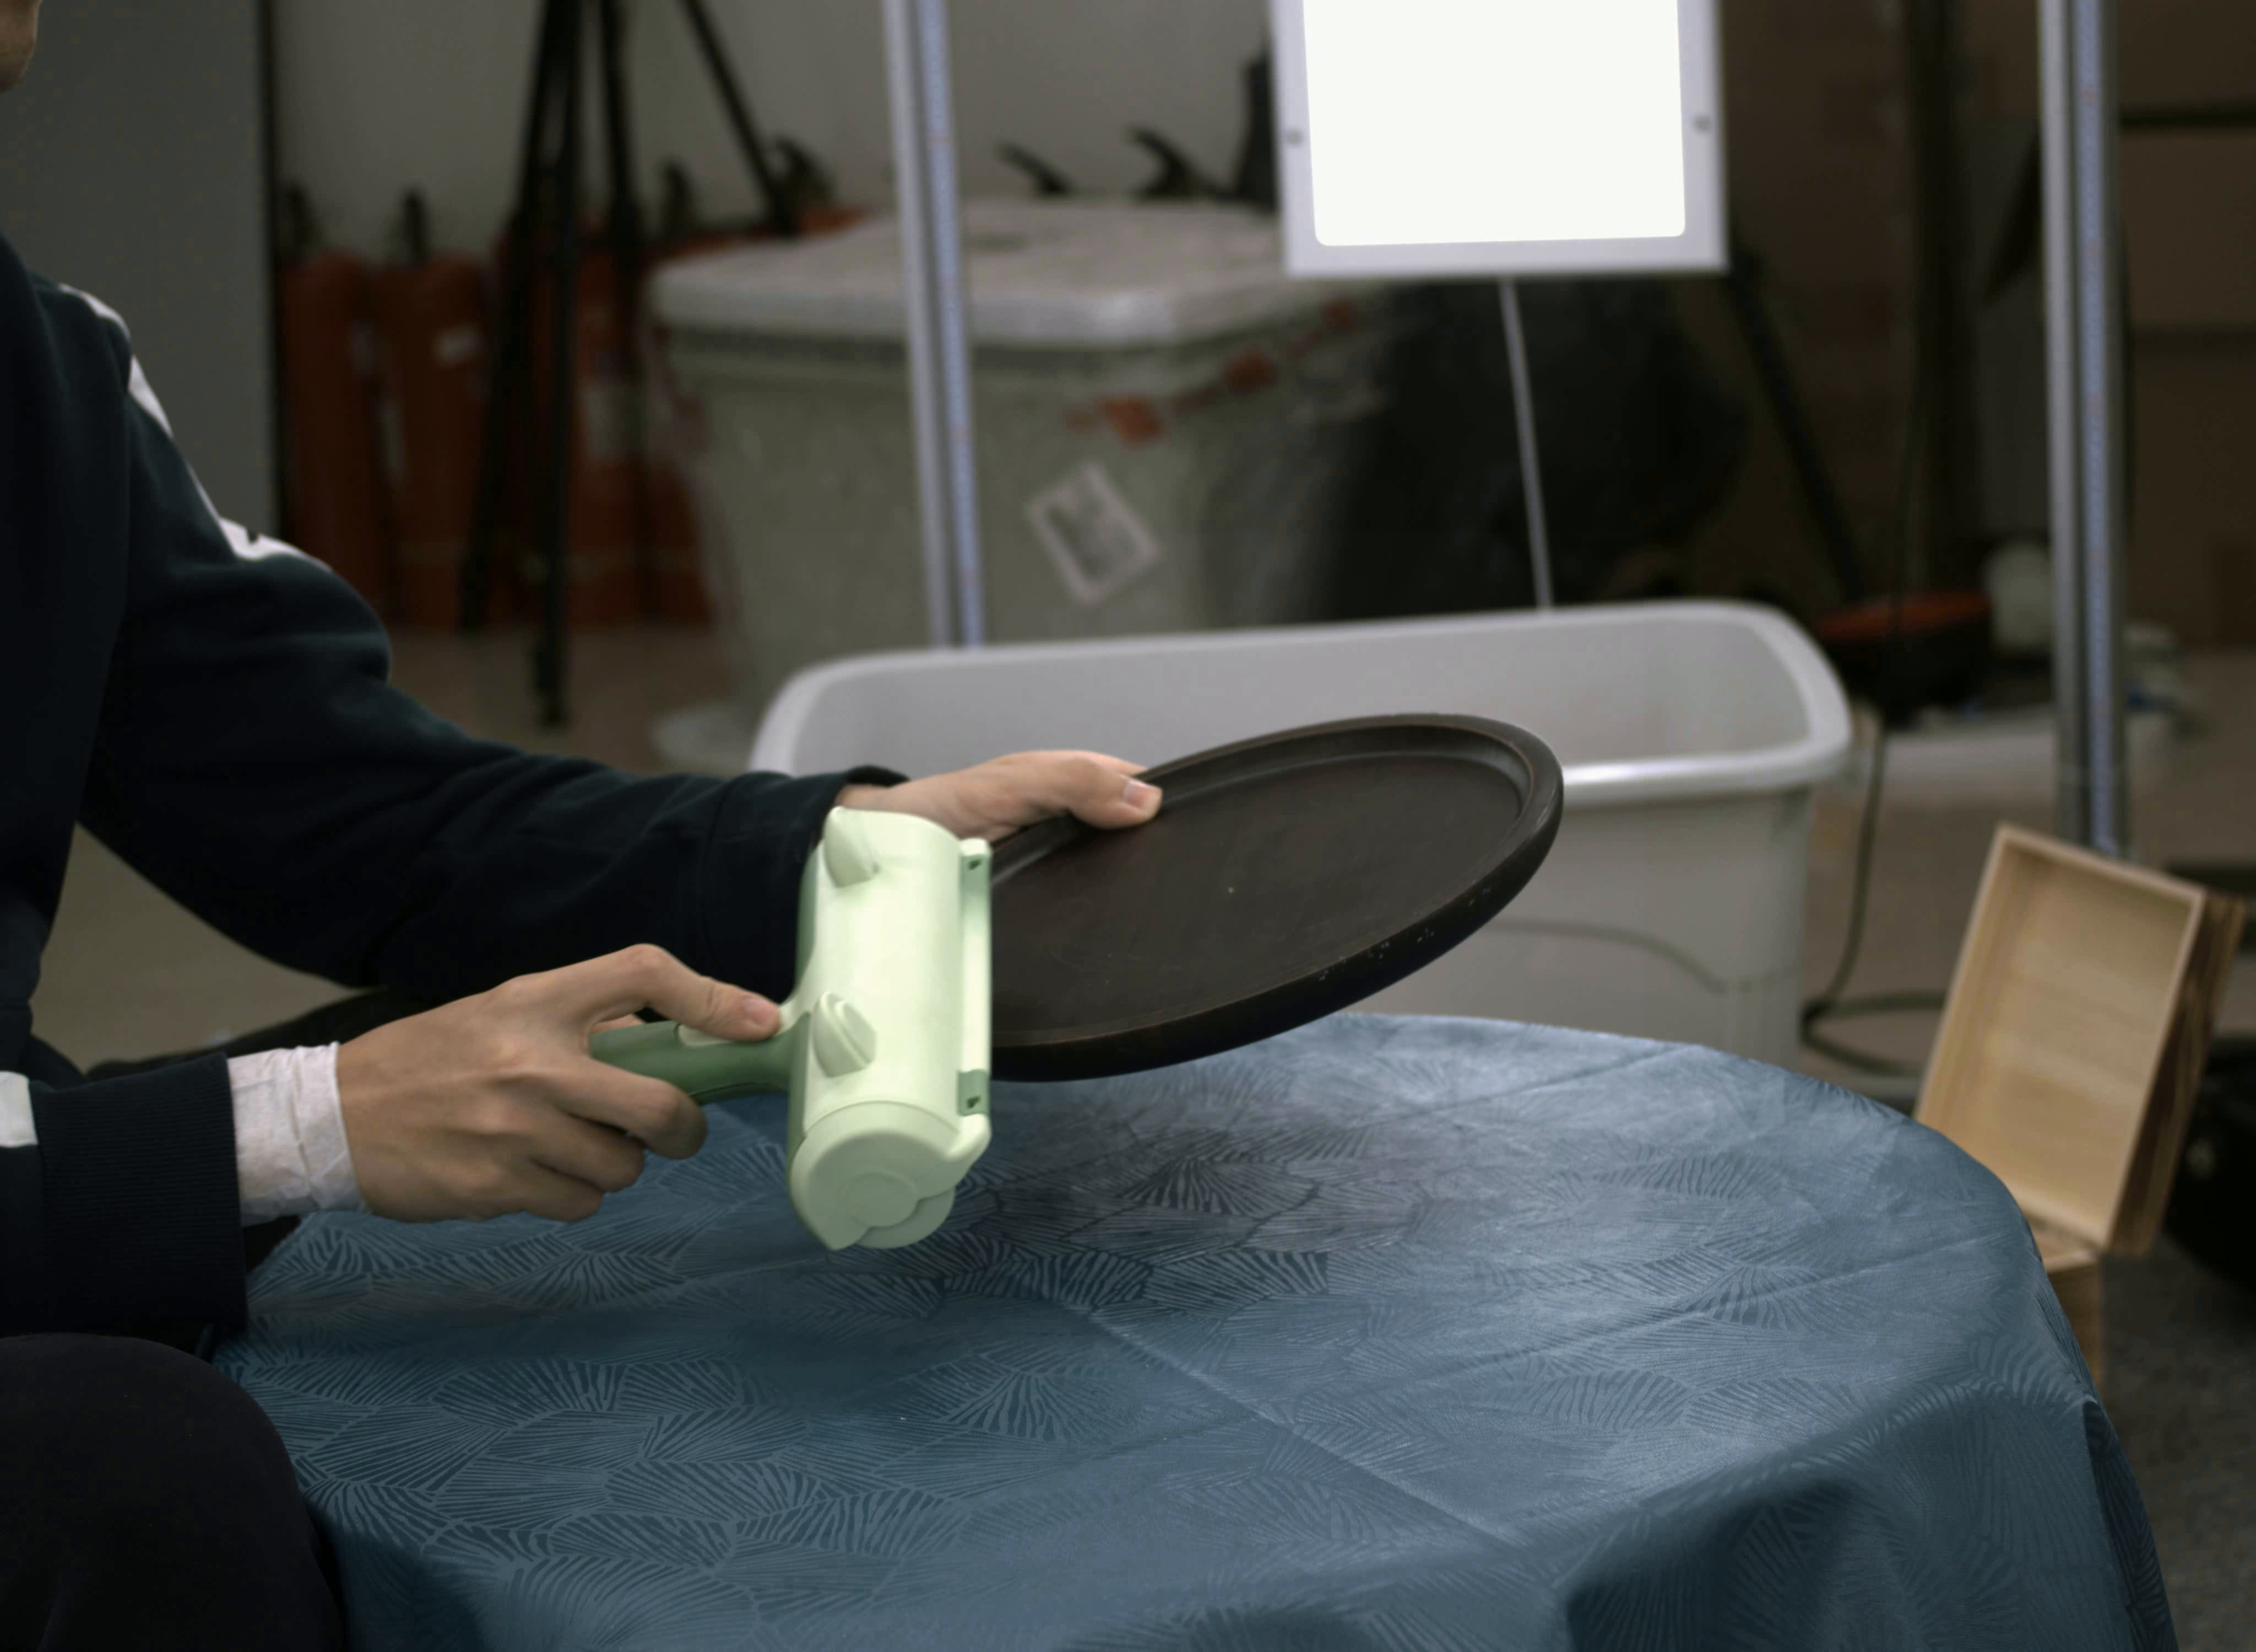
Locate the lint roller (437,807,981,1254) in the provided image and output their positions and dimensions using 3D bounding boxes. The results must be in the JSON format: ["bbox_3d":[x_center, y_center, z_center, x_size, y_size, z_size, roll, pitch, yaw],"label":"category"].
[{"bbox_3d":[-0.139,0.063,1.796,0.183,0.082,0.198,-5,31,3],"label":"lint roller"}]

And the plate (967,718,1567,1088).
[{"bbox_3d":[0.030,0.025,1.880,0.255,0.029,0.254,-18,20,5],"label":"plate"}]
